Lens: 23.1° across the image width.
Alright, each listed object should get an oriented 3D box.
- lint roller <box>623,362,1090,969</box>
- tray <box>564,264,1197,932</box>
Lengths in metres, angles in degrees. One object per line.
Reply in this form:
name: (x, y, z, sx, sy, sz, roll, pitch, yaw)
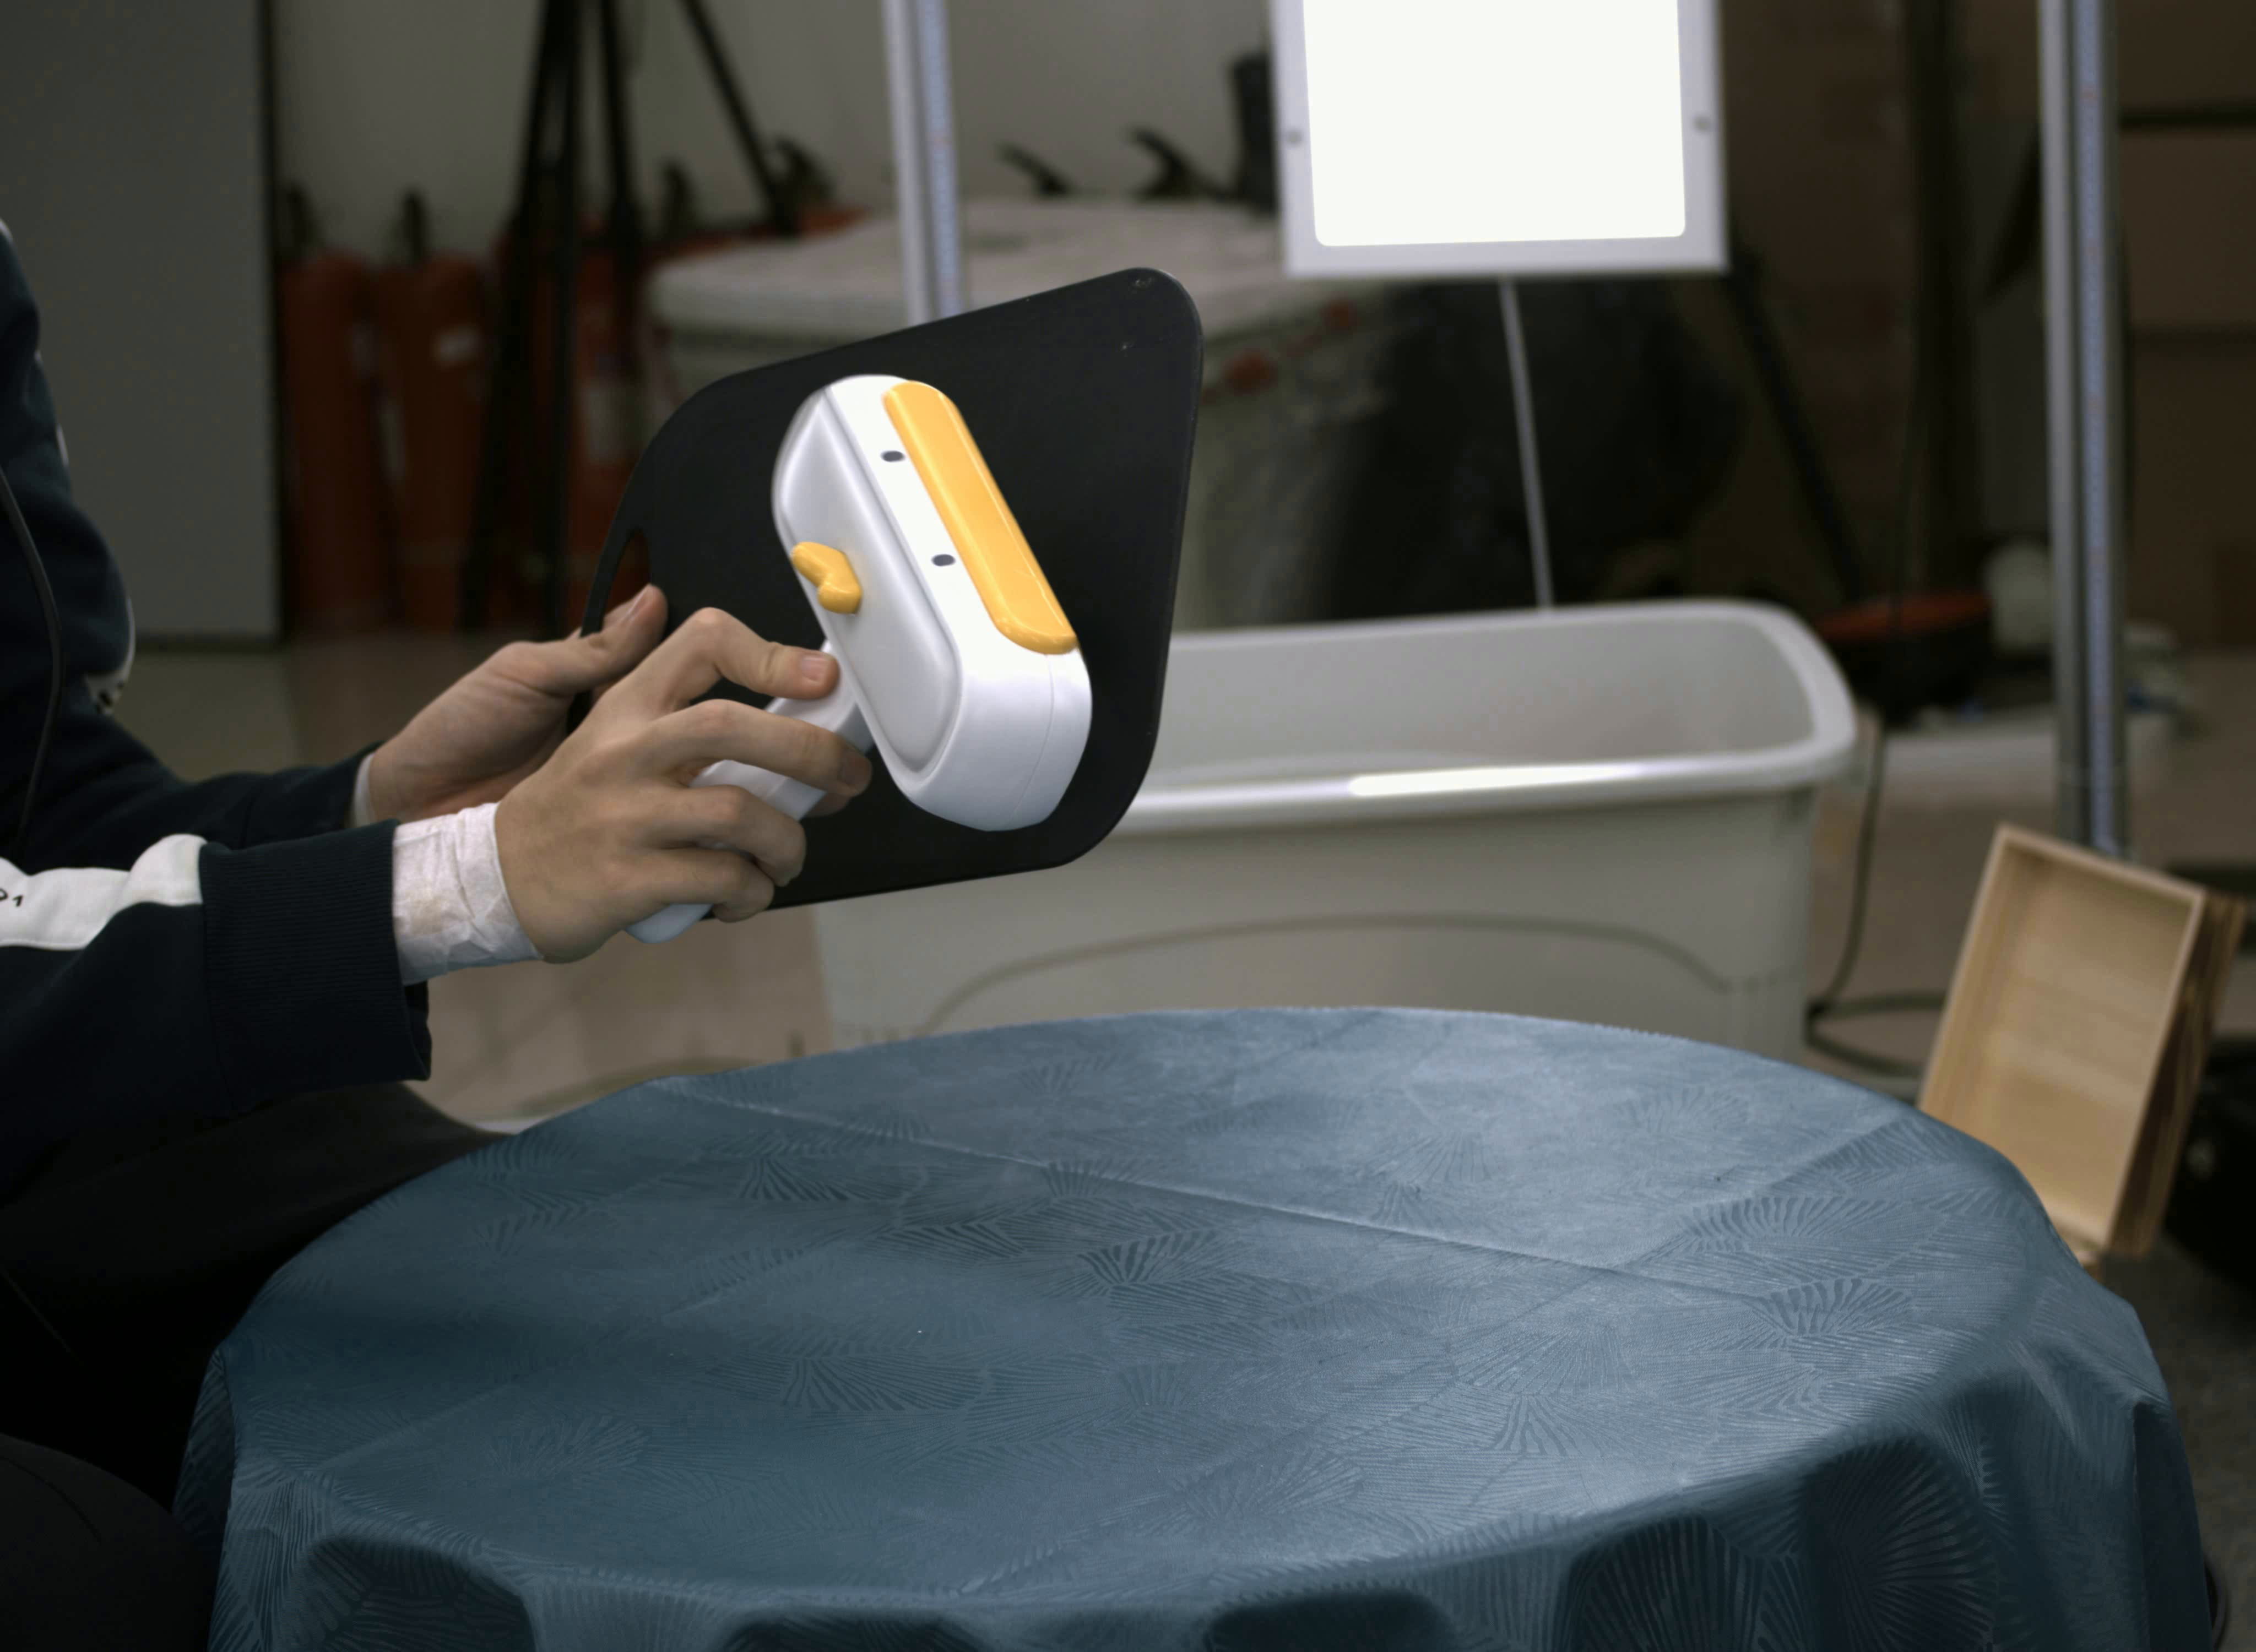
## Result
lint roller: (-0.098, -0.033, 1.790, 0.072, 0.195, 0.195, 13, 28, -36)
tray: (-0.093, -0.075, 1.911, 0.009, 0.211, 0.333, 19, -19, -38)
